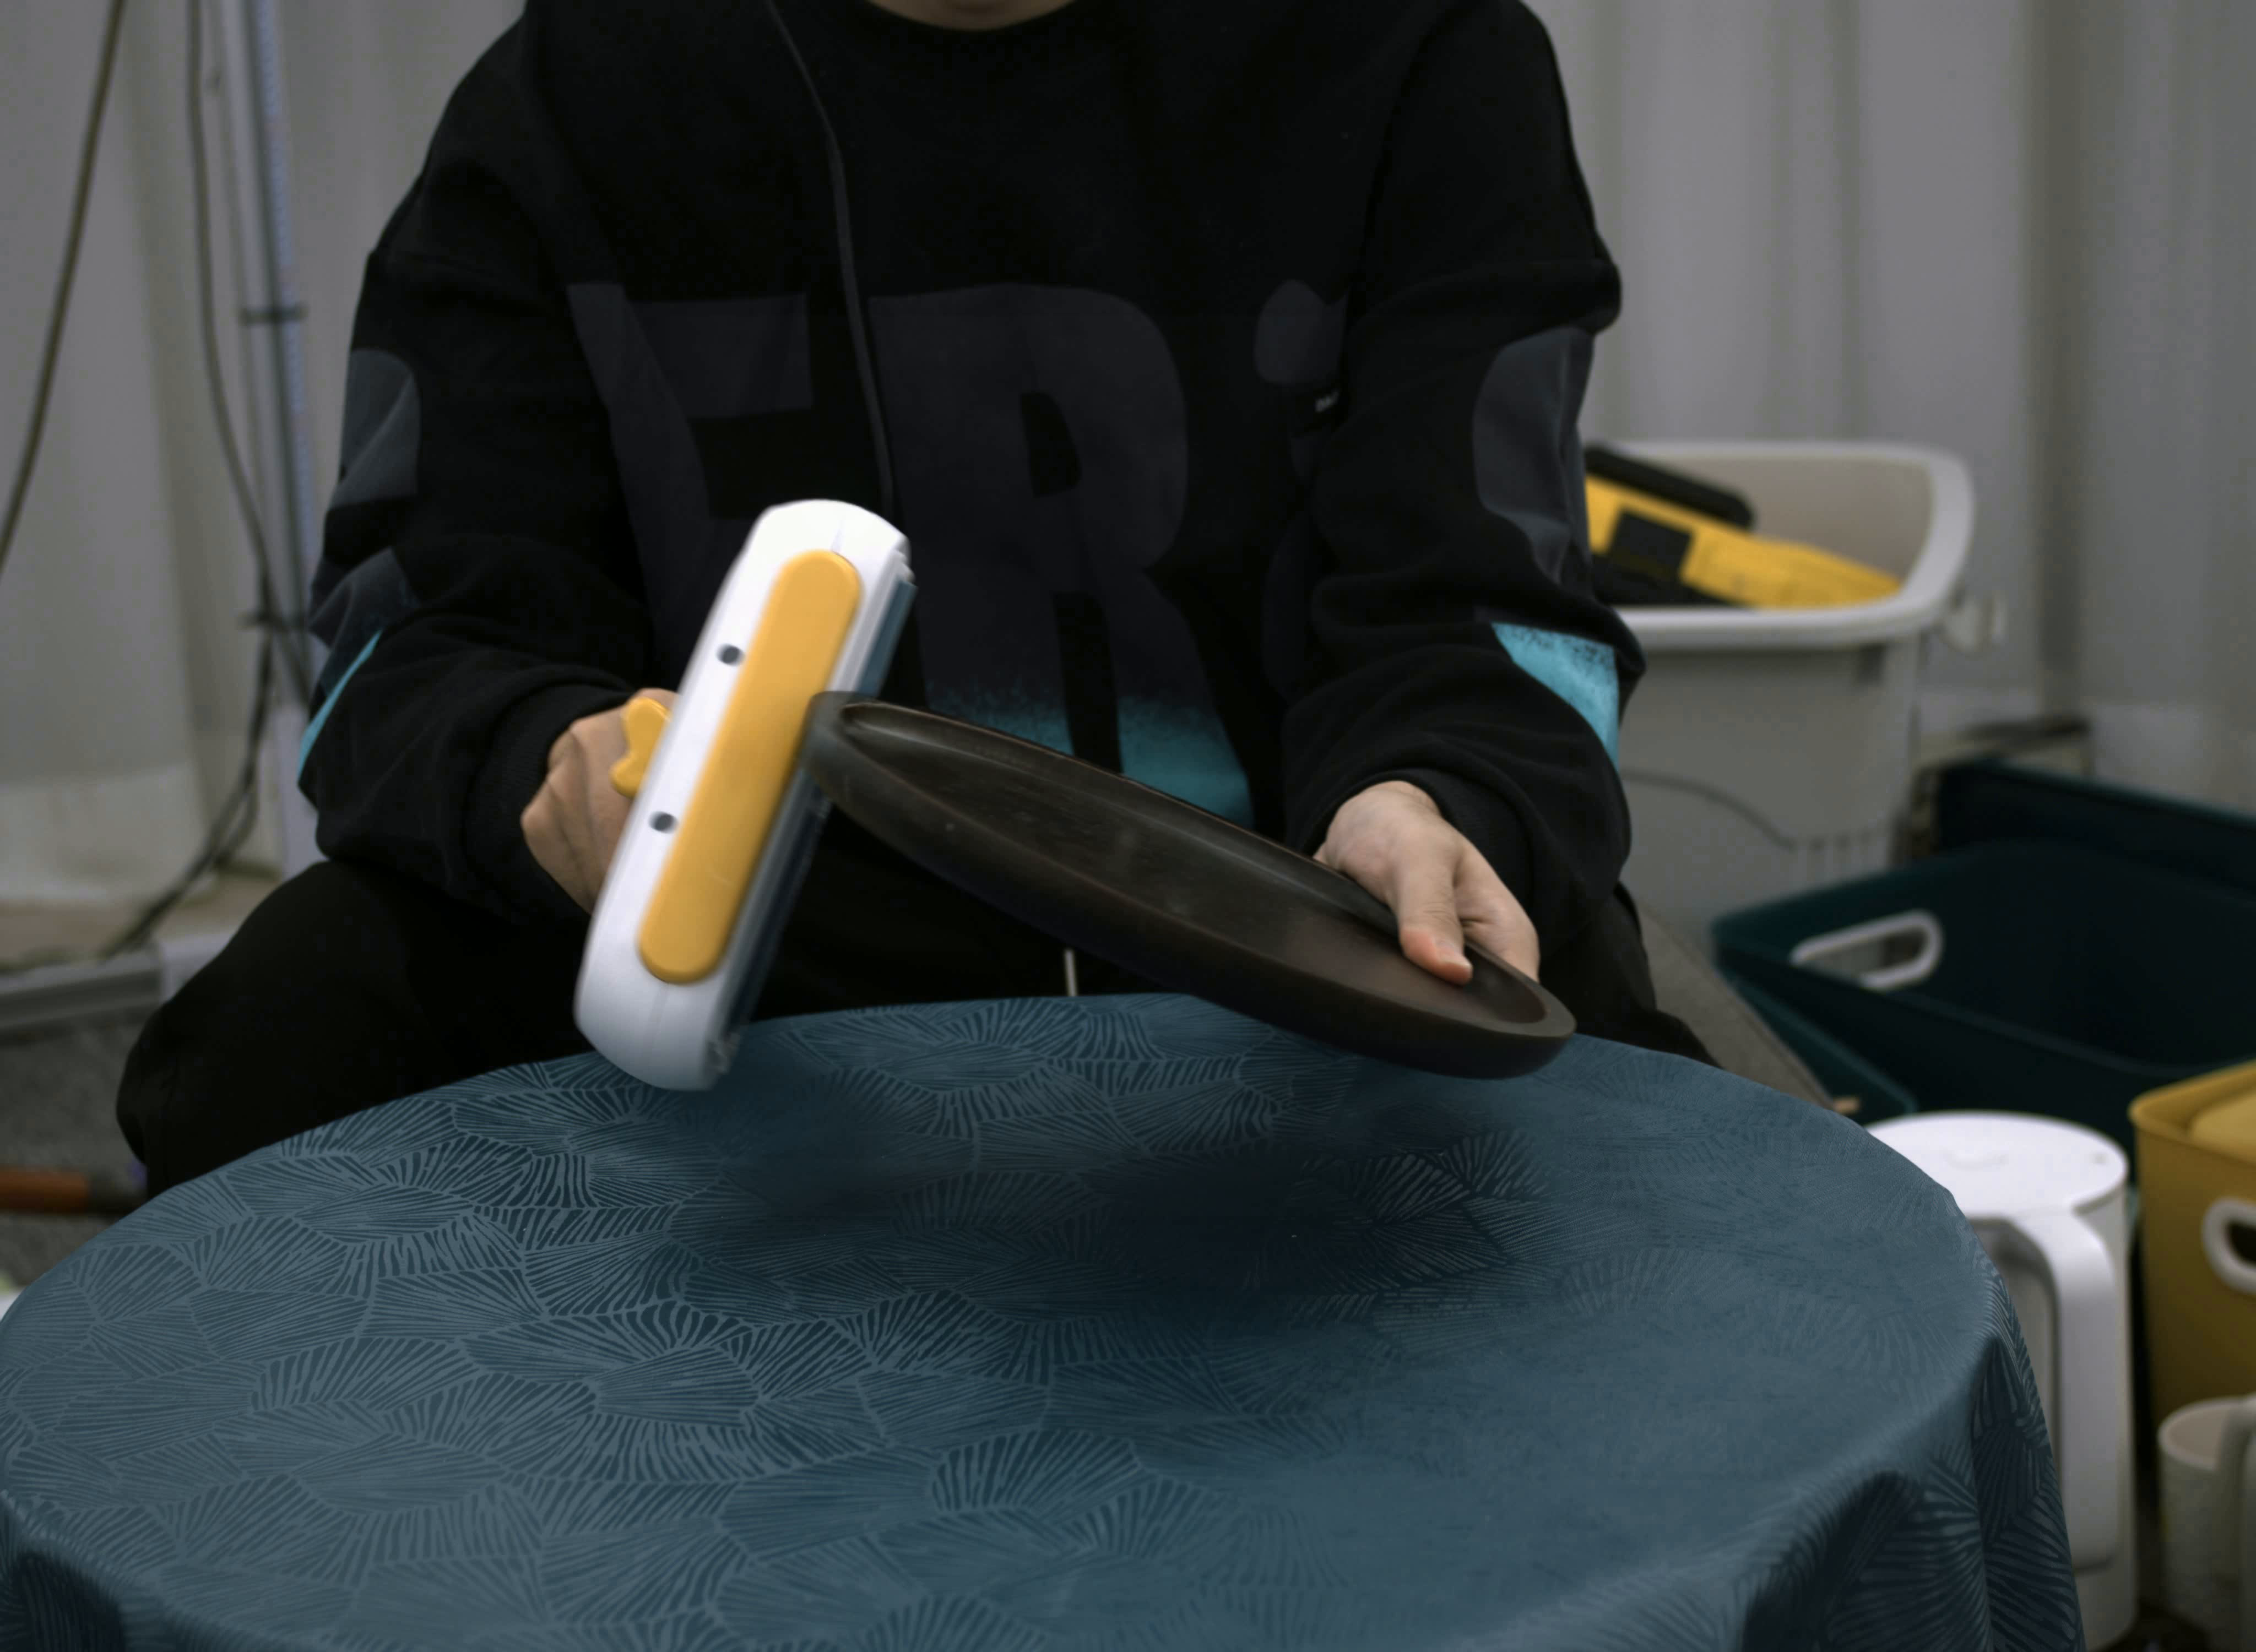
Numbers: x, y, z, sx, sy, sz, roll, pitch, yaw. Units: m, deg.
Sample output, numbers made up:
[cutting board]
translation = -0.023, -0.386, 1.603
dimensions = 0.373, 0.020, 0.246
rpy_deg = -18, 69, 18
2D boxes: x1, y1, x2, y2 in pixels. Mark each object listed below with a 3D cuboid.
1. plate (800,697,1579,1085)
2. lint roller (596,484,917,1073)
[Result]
[plate]
translation = 0.017, 0.019, 1.650
dimensions = 0.254, 0.029, 0.255
rpy_deg = 22, 6, -3
[lint roller]
translation = -0.130, -0.001, 1.767
dimensions = 0.074, 0.195, 0.191
rpy_deg = 16, -20, -4
